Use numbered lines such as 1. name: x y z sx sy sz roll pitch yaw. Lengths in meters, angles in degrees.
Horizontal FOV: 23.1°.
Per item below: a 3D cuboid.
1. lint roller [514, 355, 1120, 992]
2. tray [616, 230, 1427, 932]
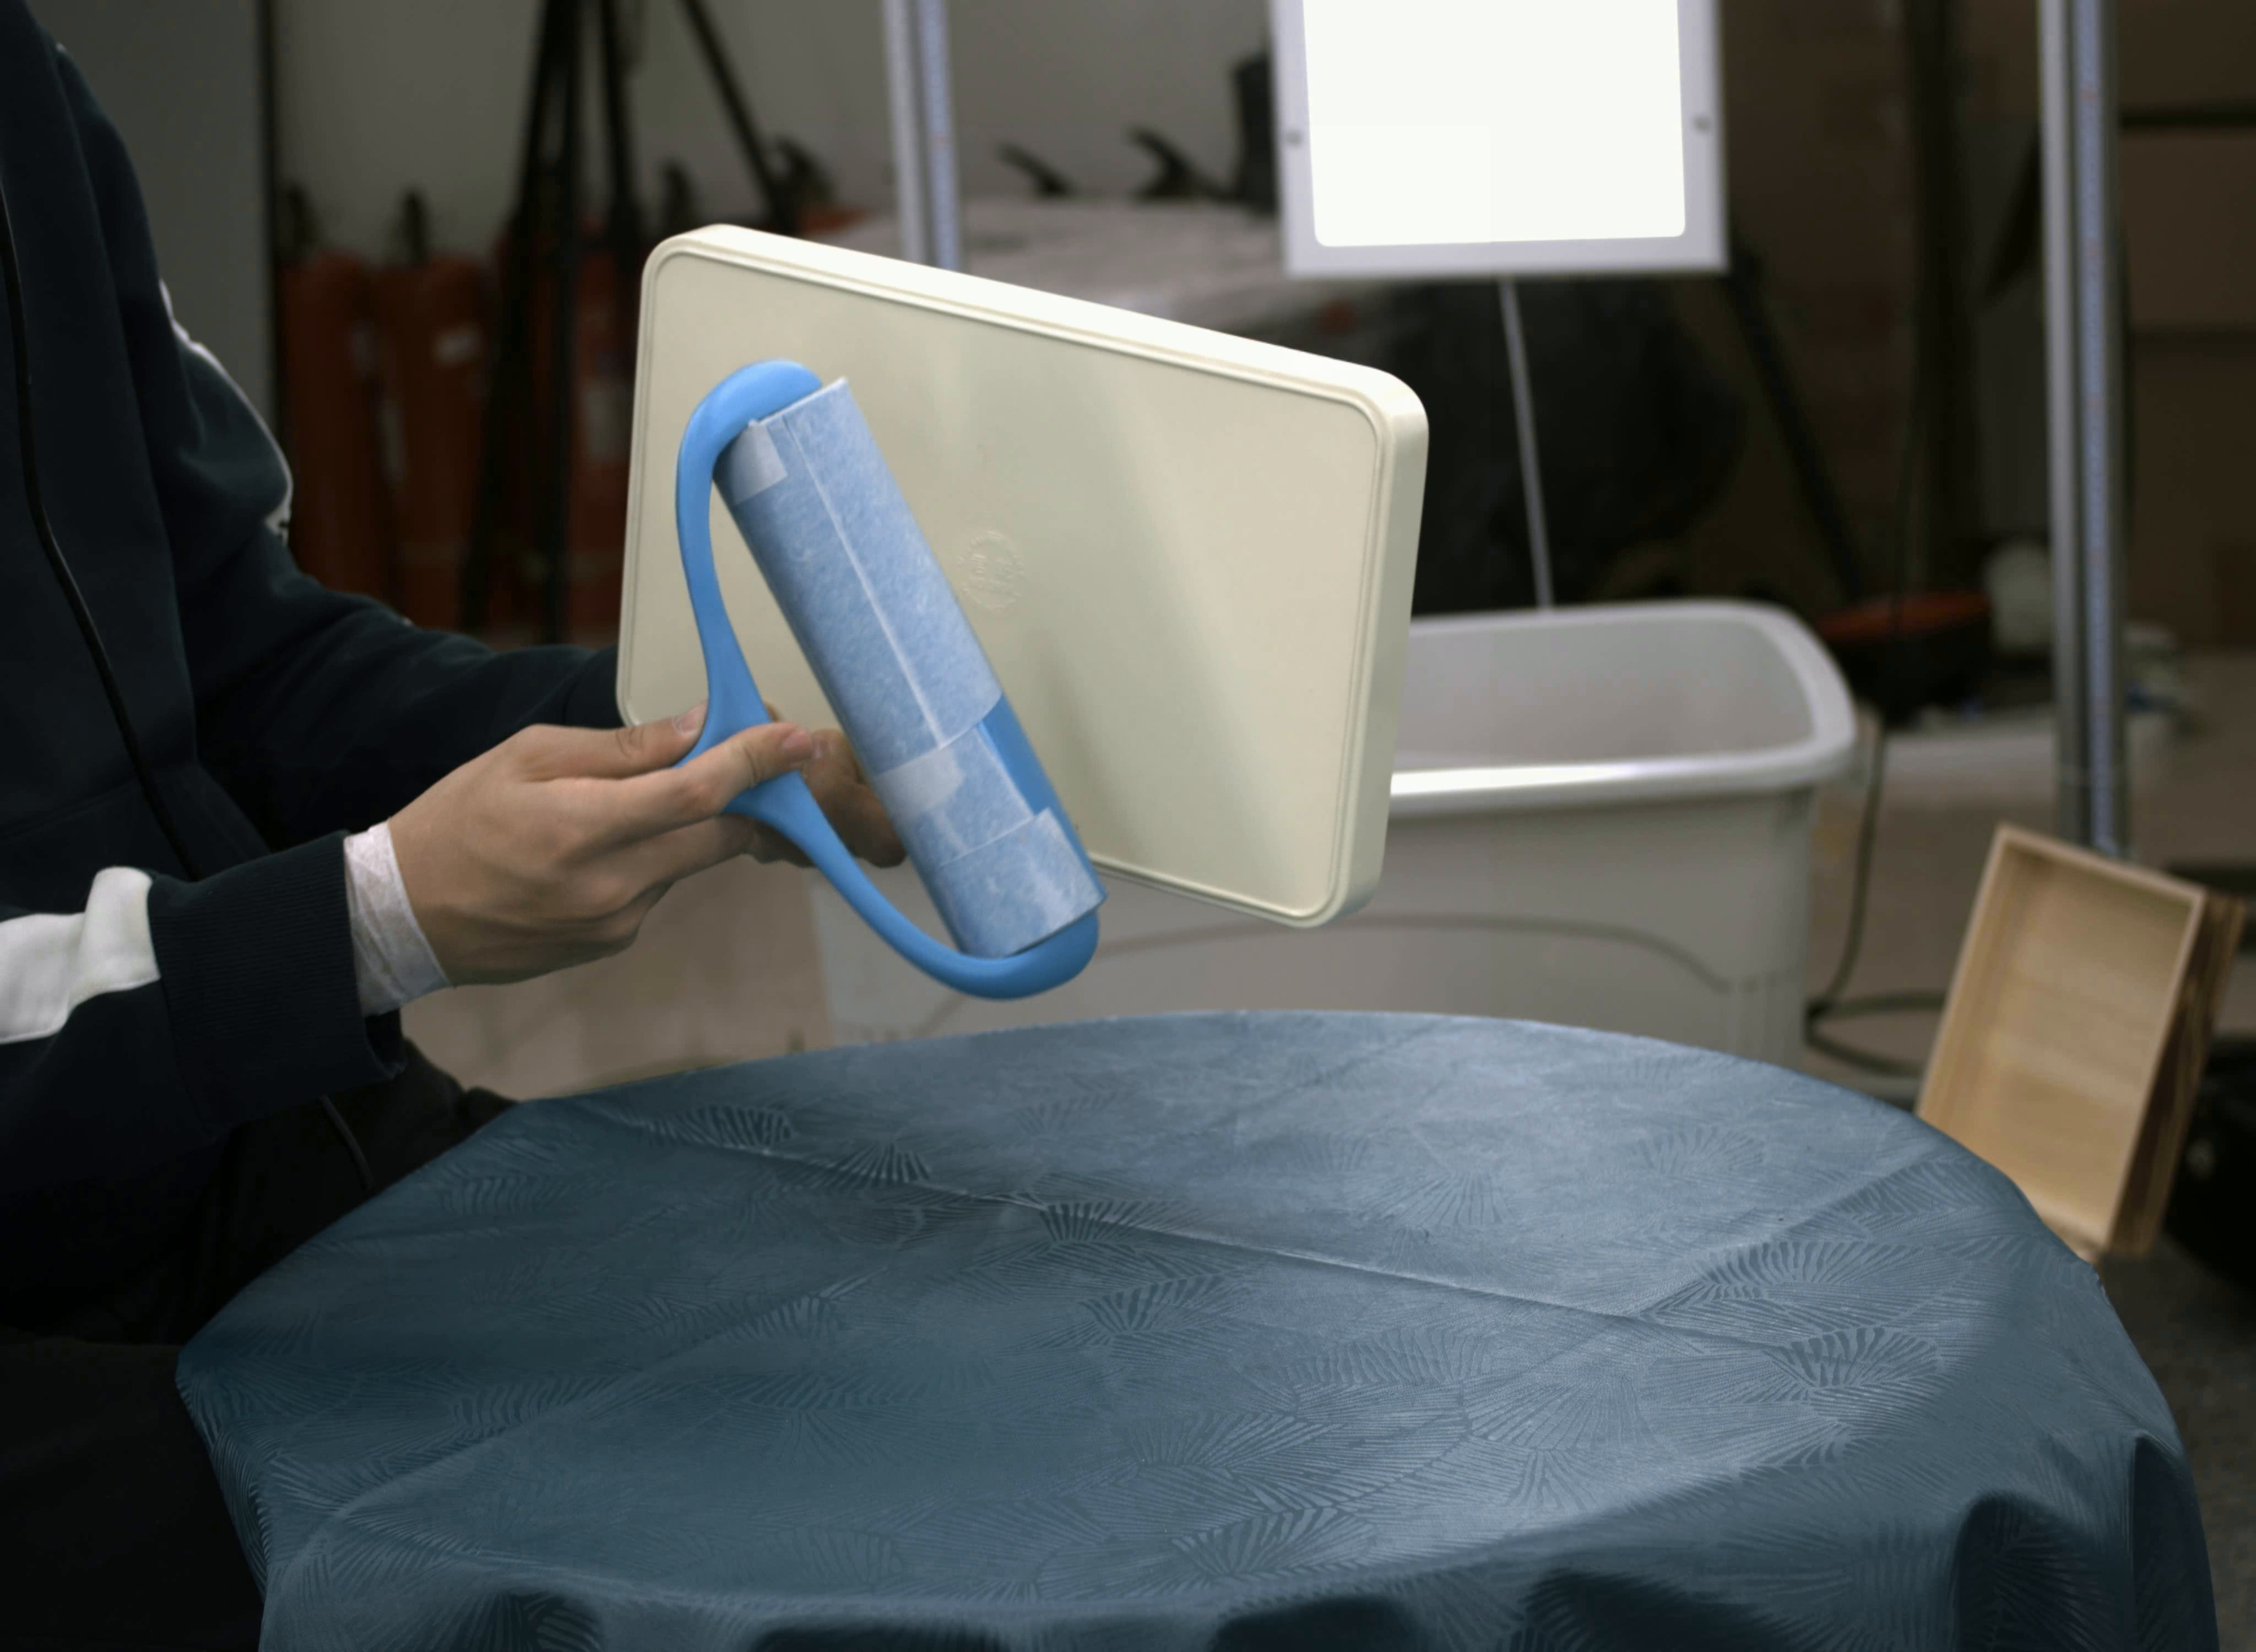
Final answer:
1. lint roller: -0.122 -0.020 1.813 0.180 0.229 0.068 -31 6 3
2. tray: -0.043 -0.086 1.874 0.305 0.193 0.027 15 21 29
